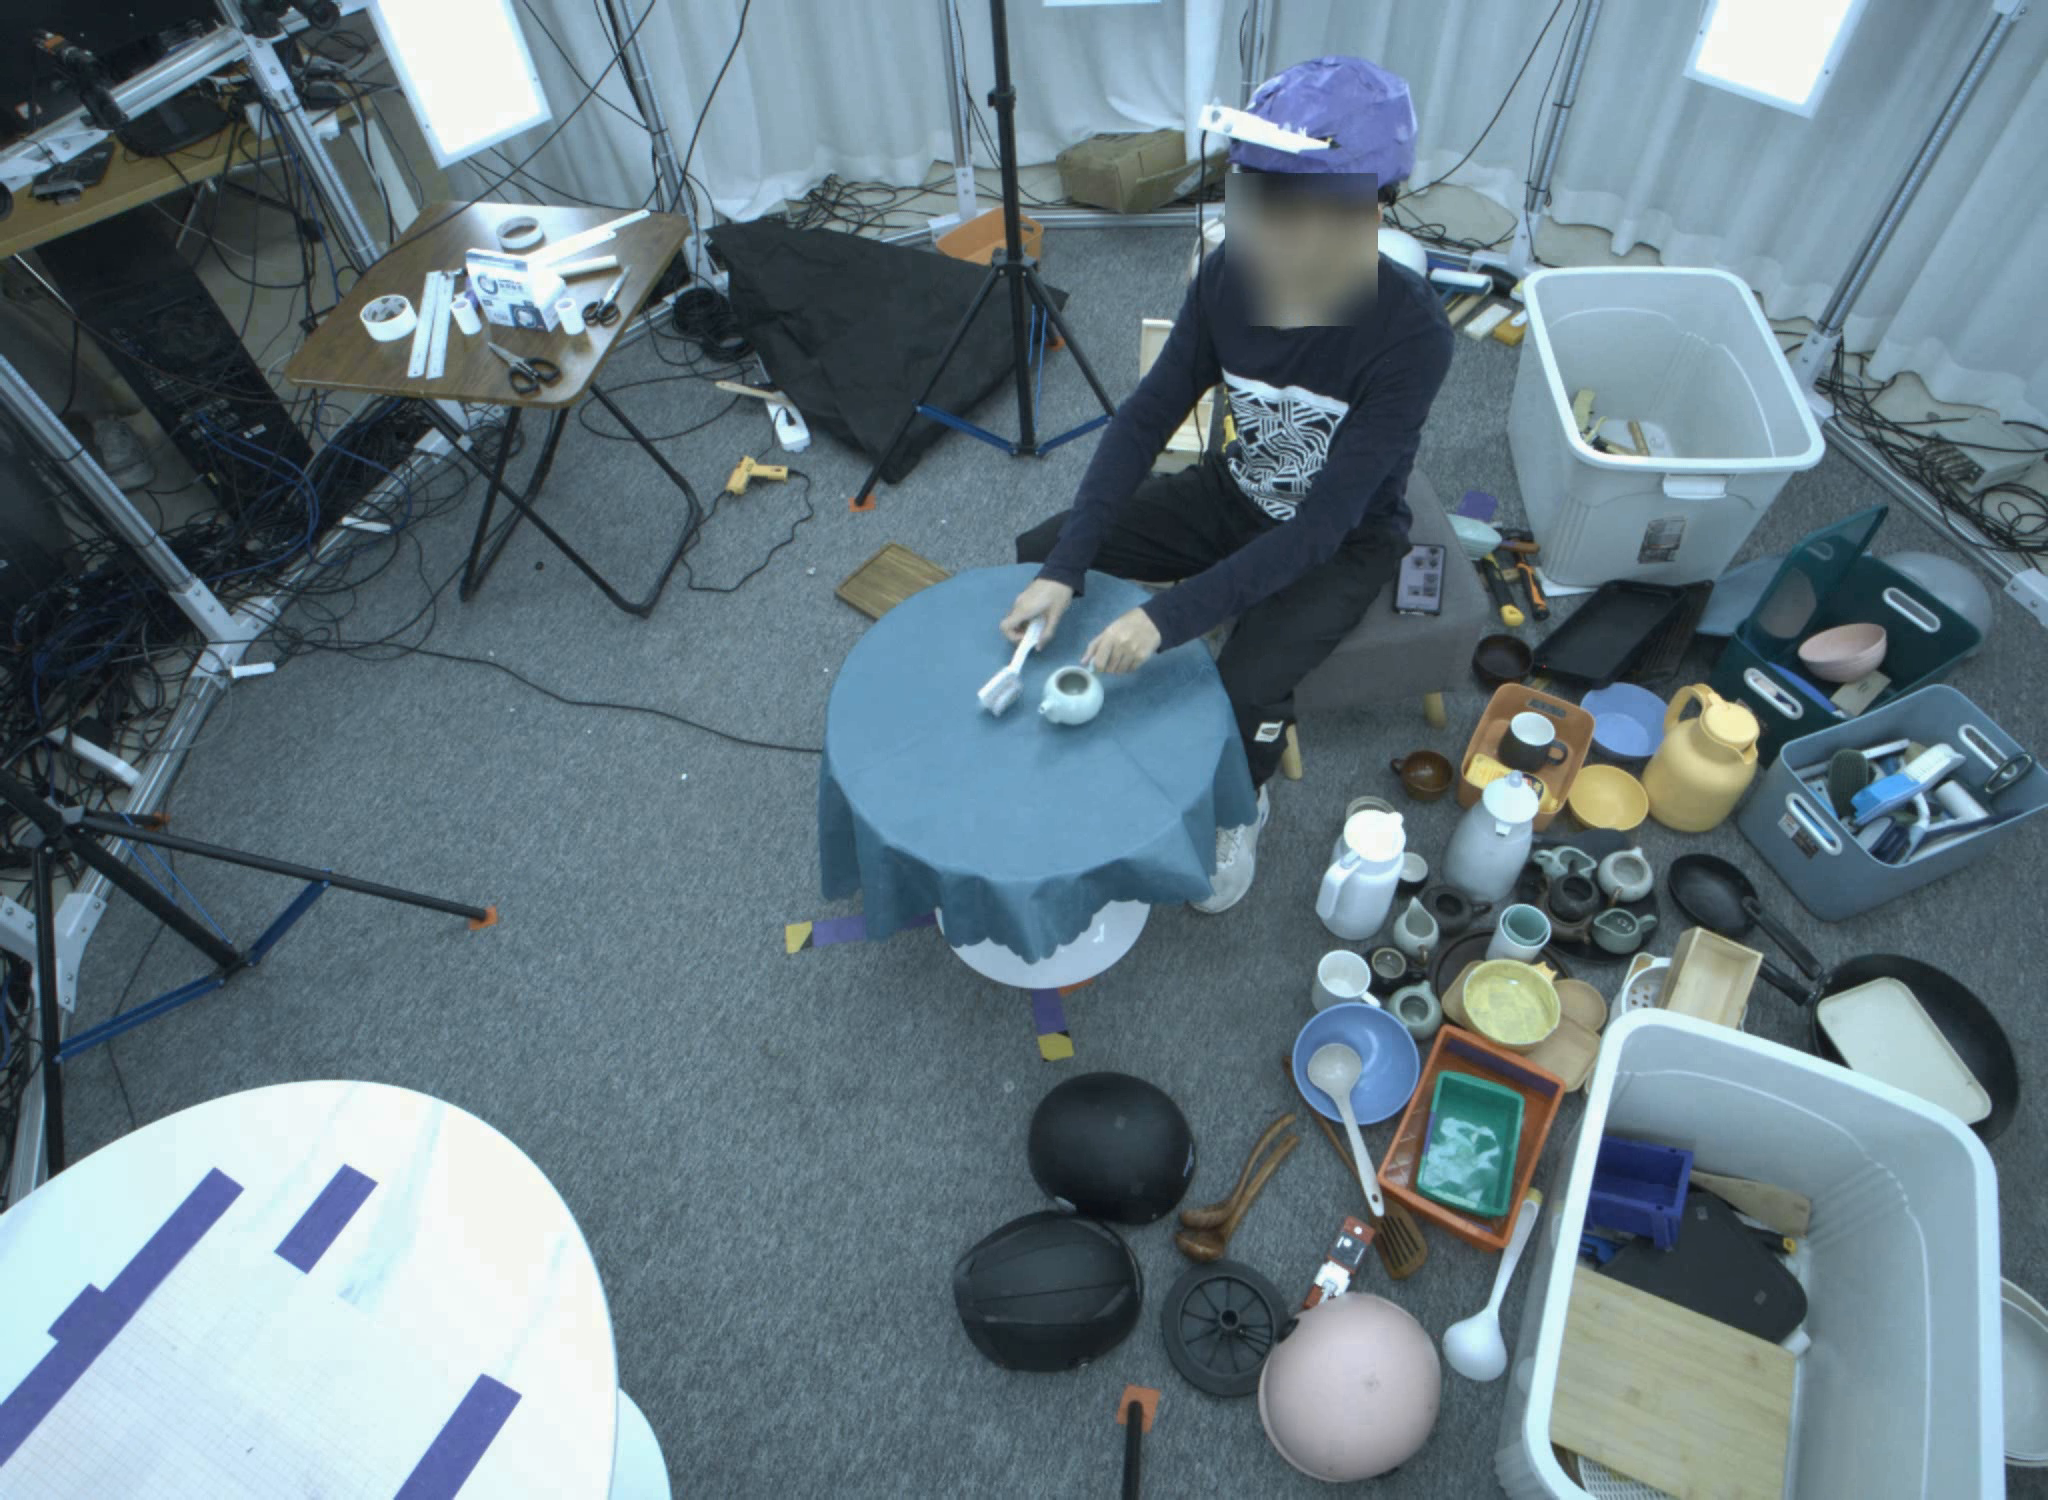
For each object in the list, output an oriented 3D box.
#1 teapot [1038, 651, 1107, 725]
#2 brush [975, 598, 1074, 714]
[{"bbox_3d":[0.073,-0.080,1.790,0.087,0.075,0.145,36,65,26],"label":"teapot"},{"bbox_3d":[0.012,-0.146,1.843,0.244,0.035,0.049,-49,28,-24],"label":"brush"}]
